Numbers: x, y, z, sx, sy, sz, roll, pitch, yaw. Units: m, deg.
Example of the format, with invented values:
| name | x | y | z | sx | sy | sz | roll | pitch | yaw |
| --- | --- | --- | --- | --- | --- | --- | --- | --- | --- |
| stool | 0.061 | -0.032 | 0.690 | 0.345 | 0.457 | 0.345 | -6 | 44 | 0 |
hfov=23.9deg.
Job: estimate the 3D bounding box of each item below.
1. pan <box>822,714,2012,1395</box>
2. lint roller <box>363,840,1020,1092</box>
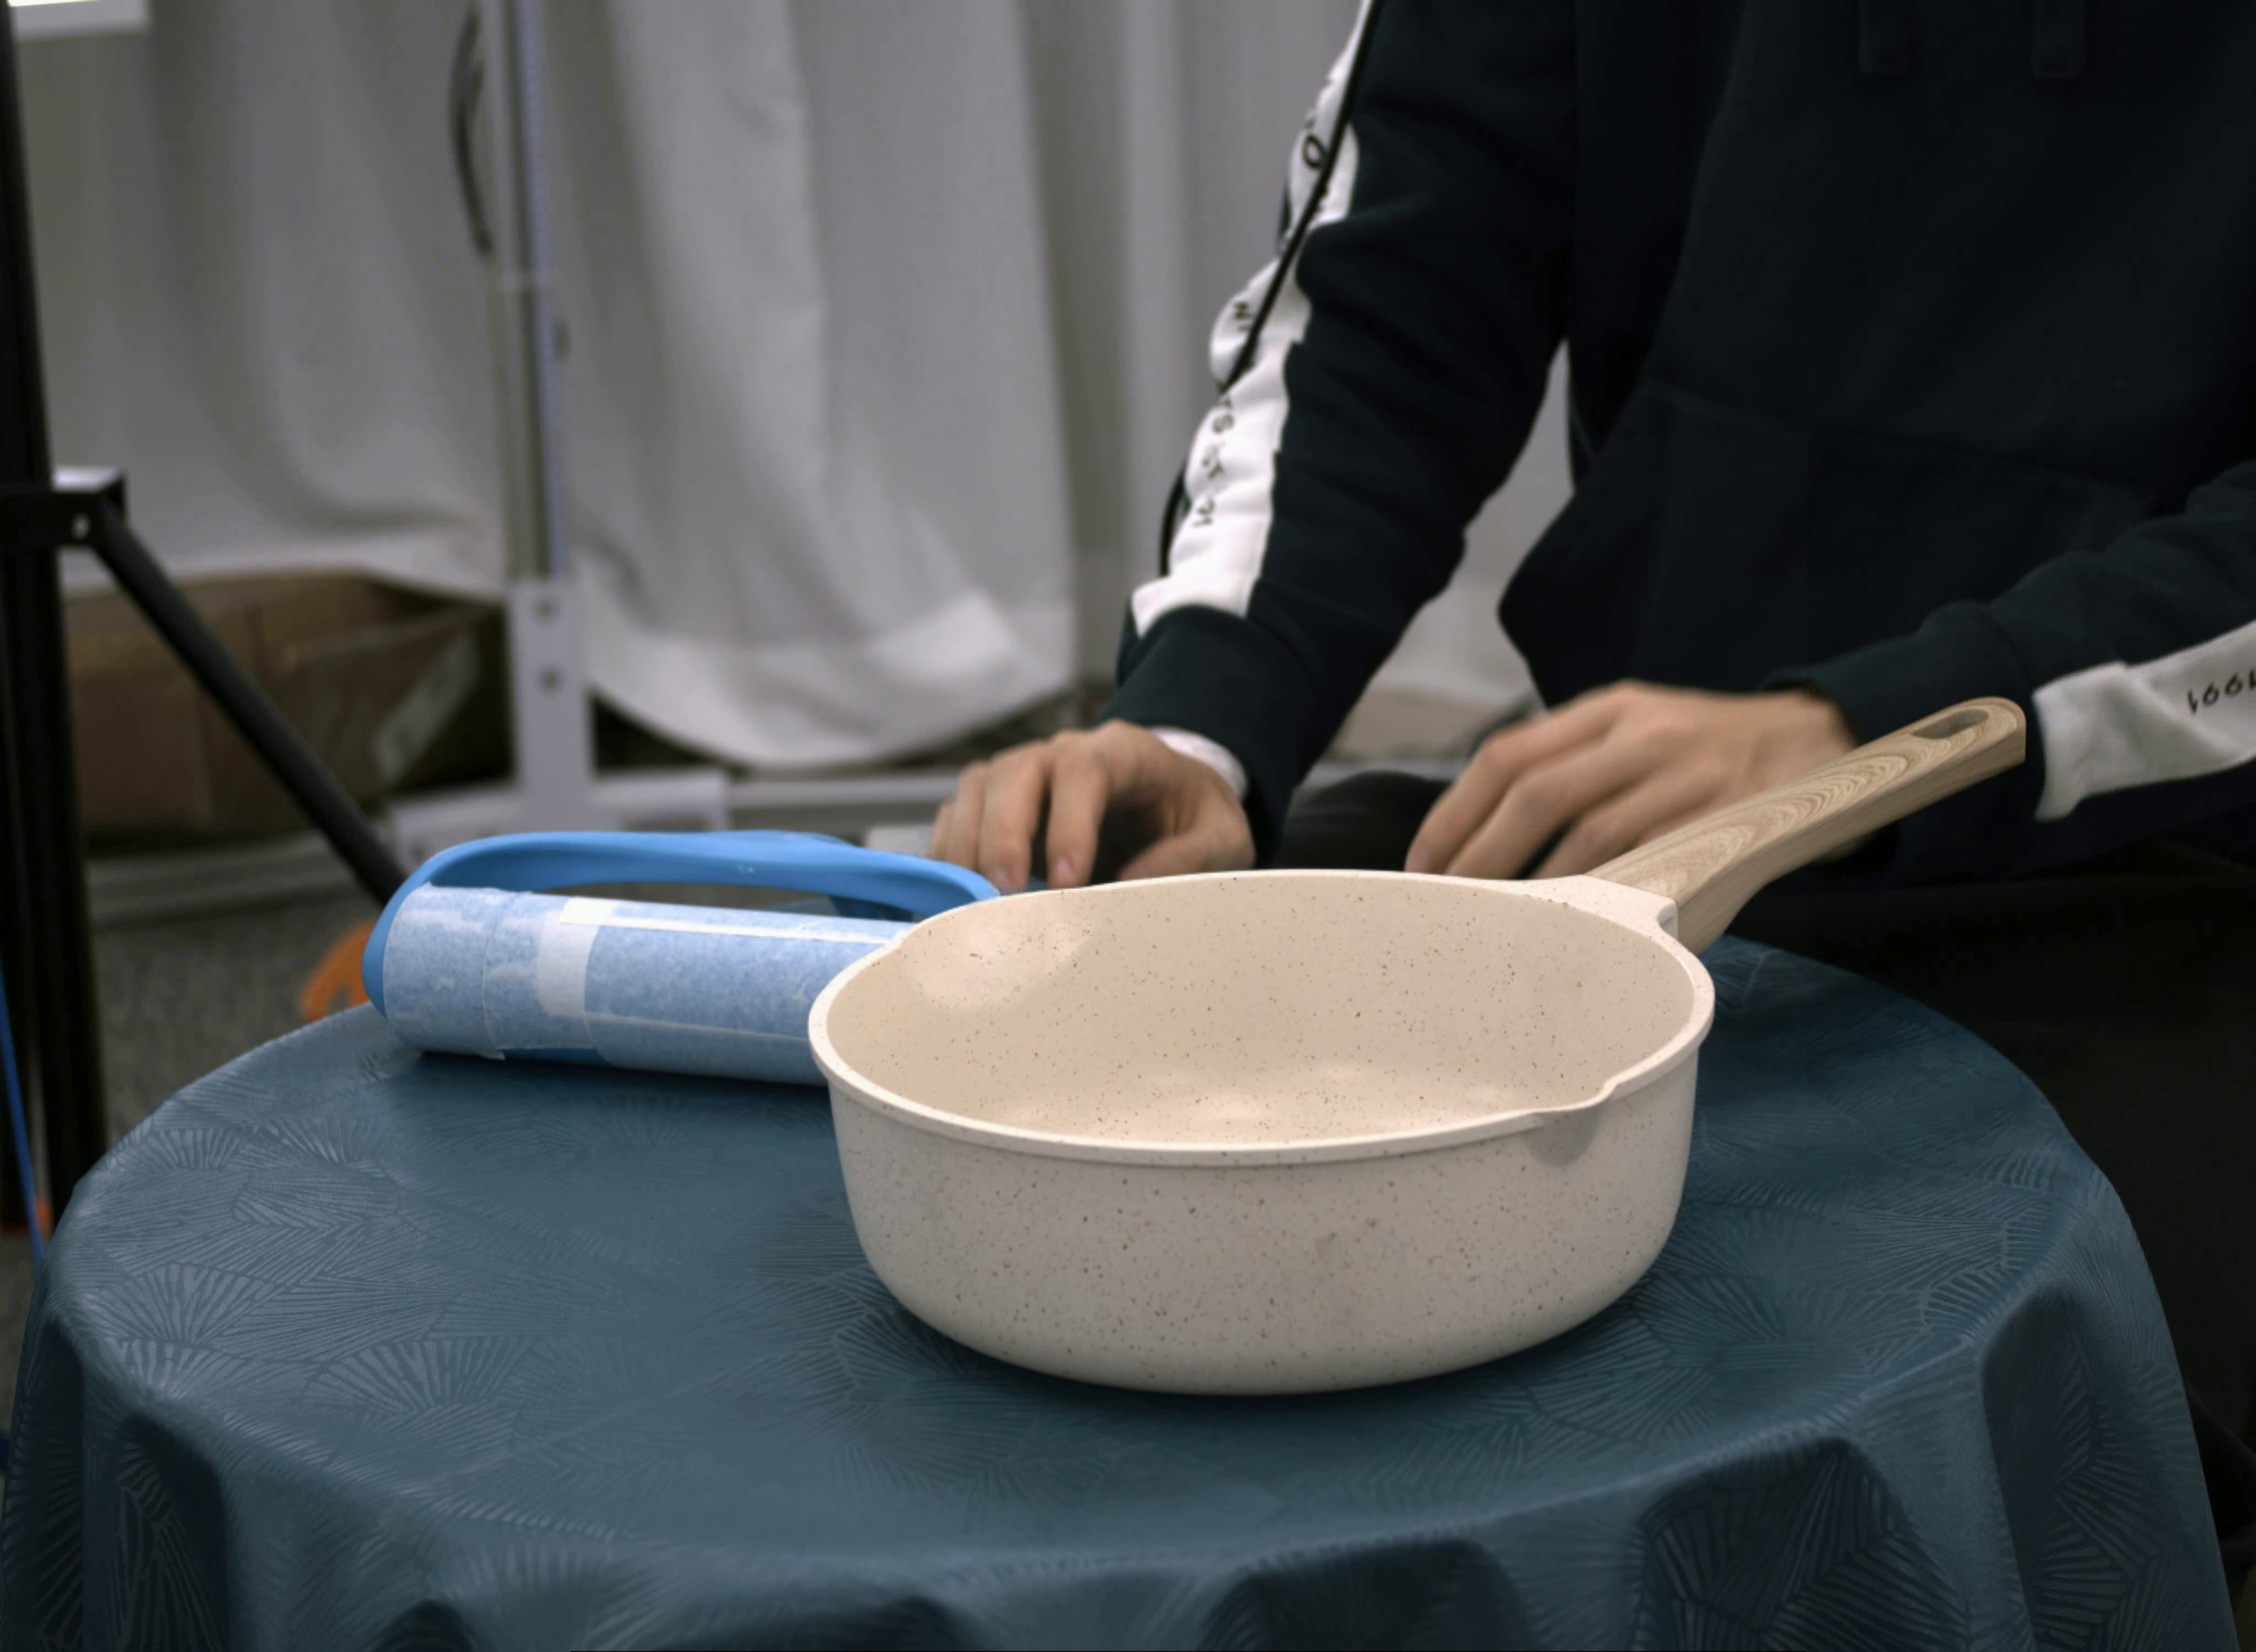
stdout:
| name | x | y | z | sx | sy | sz | roll | pitch | yaw |
| --- | --- | --- | --- | --- | --- | --- | --- | --- | --- |
| pan | 0.111 | 0.060 | 1.524 | 0.425 | 0.102 | 0.269 | -15 | 19 | -37 |
| lint roller | -0.118 | 0.035 | 1.732 | 0.231 | 0.068 | 0.178 | 1 | 17 | 20 |
